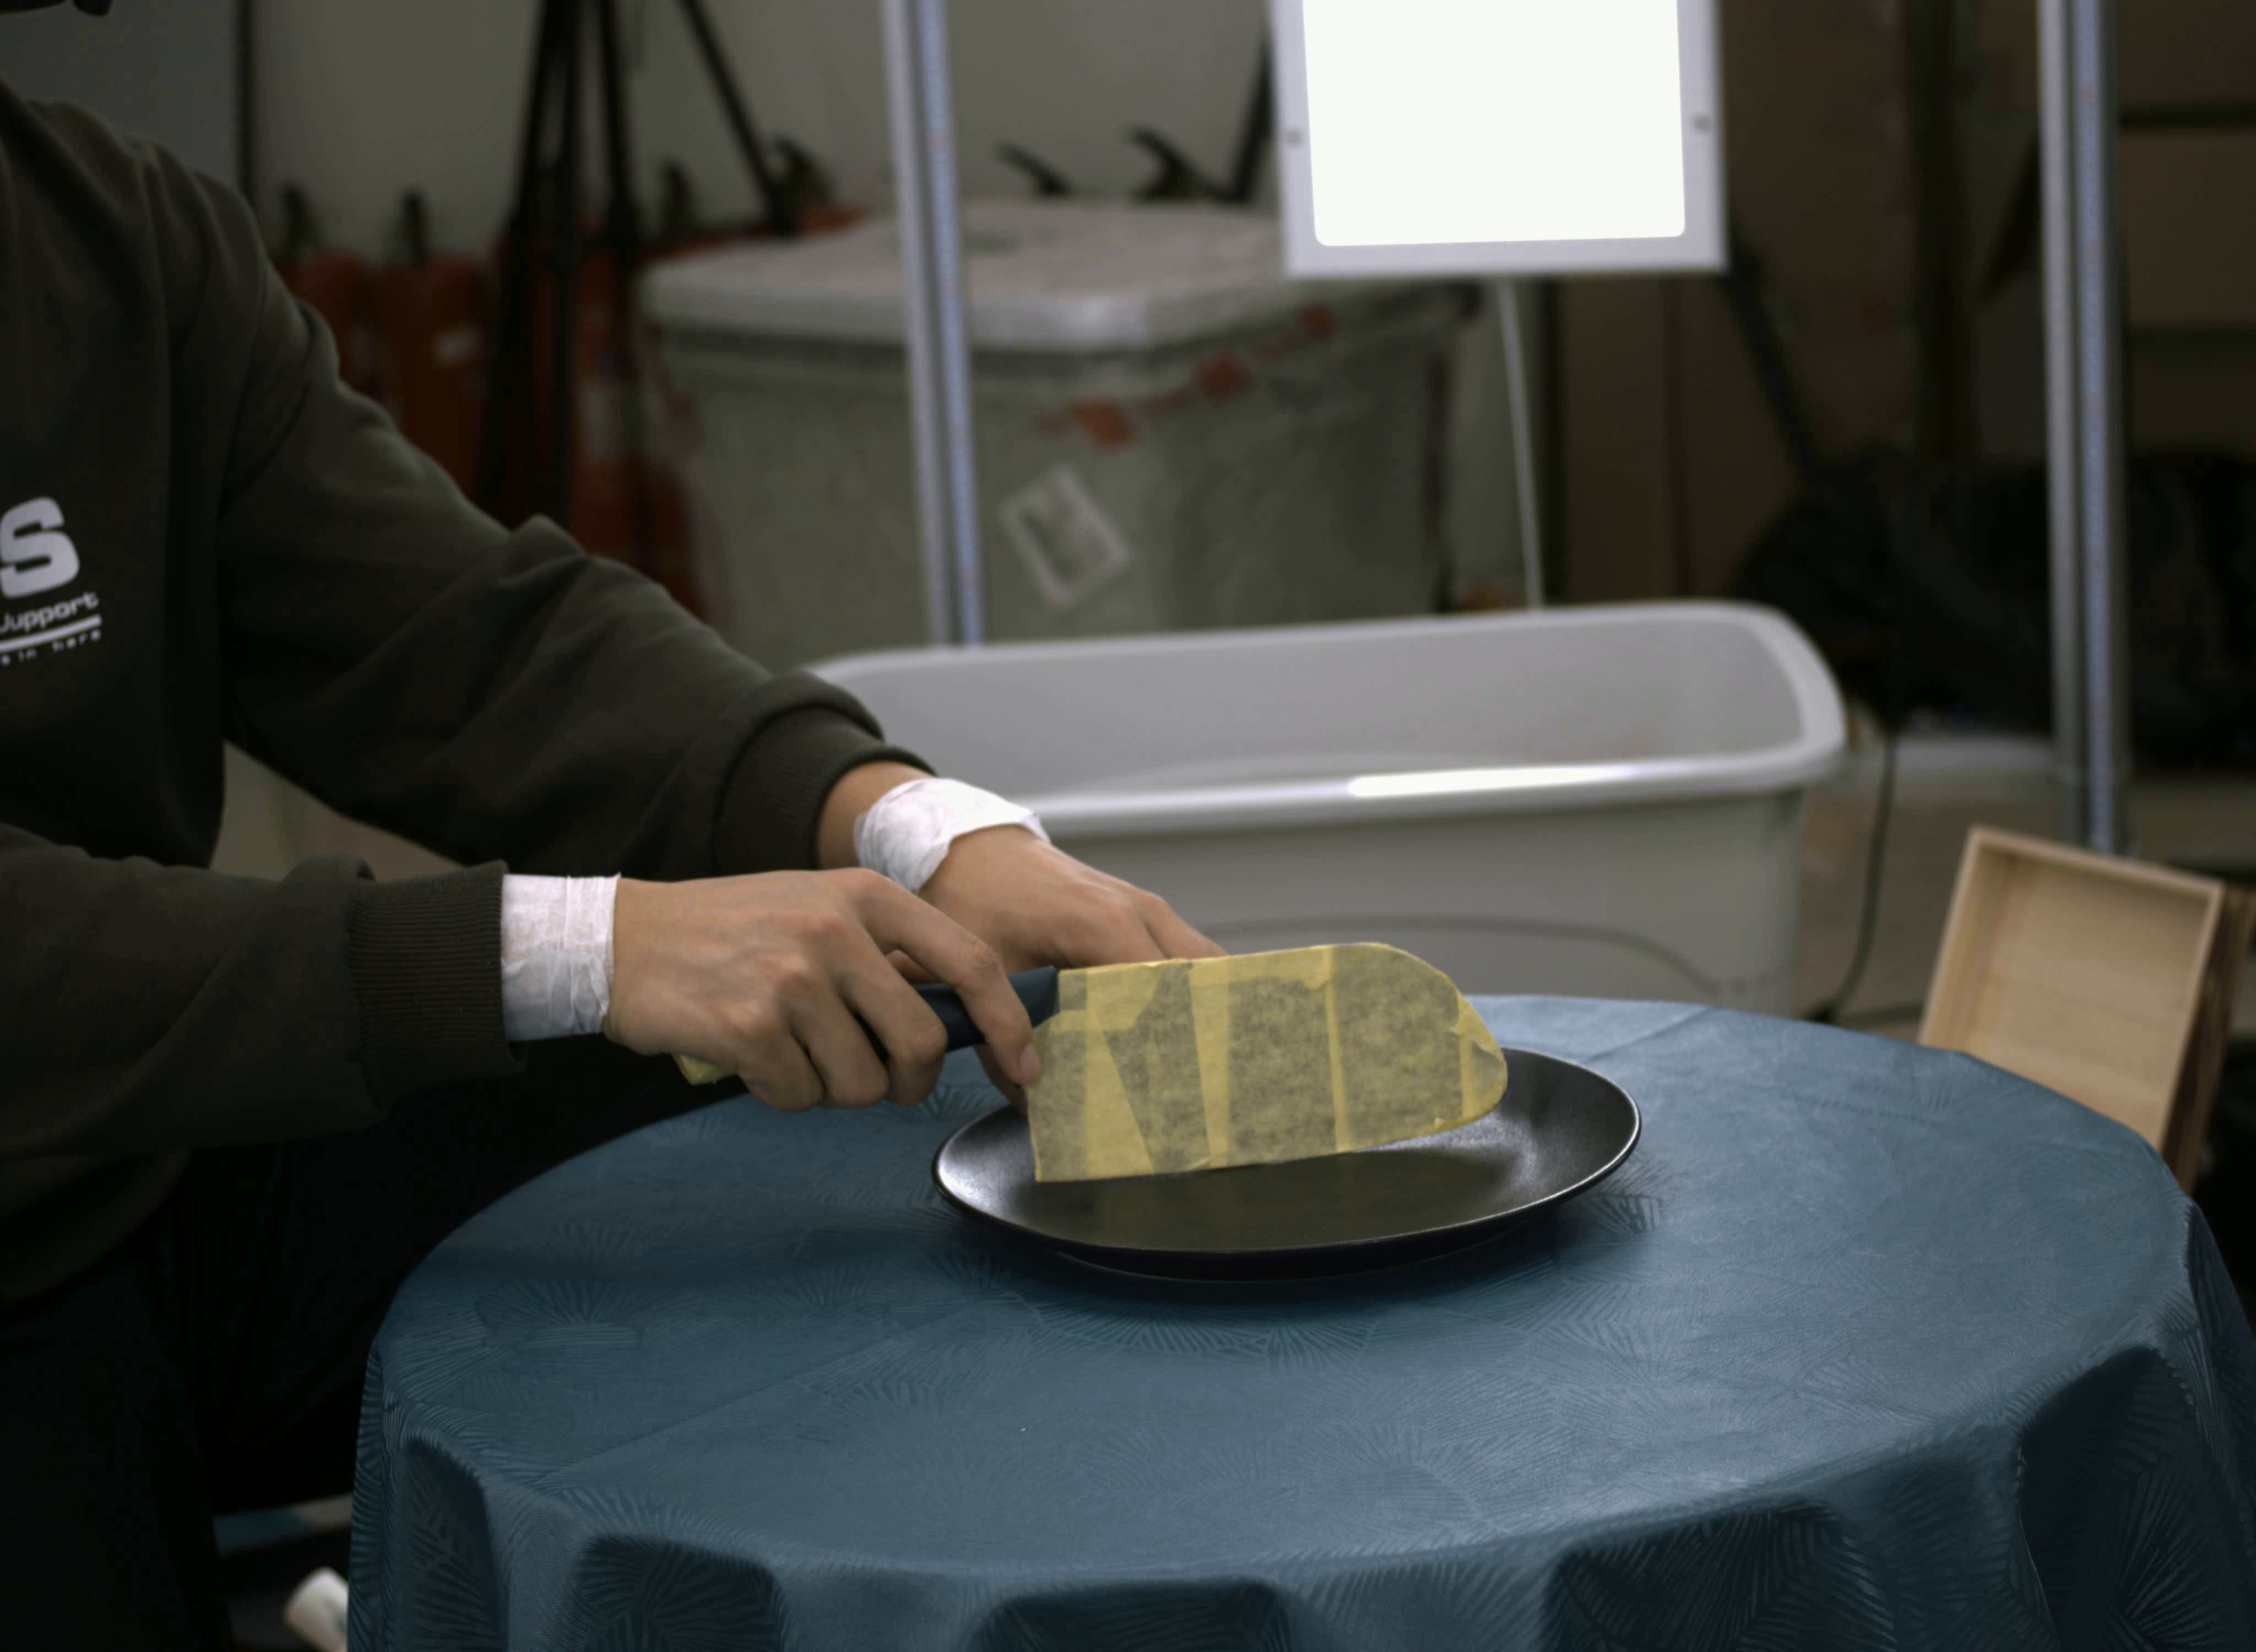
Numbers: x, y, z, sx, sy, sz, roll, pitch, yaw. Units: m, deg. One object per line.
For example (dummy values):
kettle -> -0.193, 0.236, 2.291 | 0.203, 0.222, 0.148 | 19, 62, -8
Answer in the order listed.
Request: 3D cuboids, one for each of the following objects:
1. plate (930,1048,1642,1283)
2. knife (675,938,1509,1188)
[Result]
plate -> 0.055, 0.116, 1.876 | 0.244, 0.023, 0.244 | -5, 13, 0
knife -> -0.010, 0.083, 1.887 | 0.287, 0.081, 0.027 | -3, -1, -4
